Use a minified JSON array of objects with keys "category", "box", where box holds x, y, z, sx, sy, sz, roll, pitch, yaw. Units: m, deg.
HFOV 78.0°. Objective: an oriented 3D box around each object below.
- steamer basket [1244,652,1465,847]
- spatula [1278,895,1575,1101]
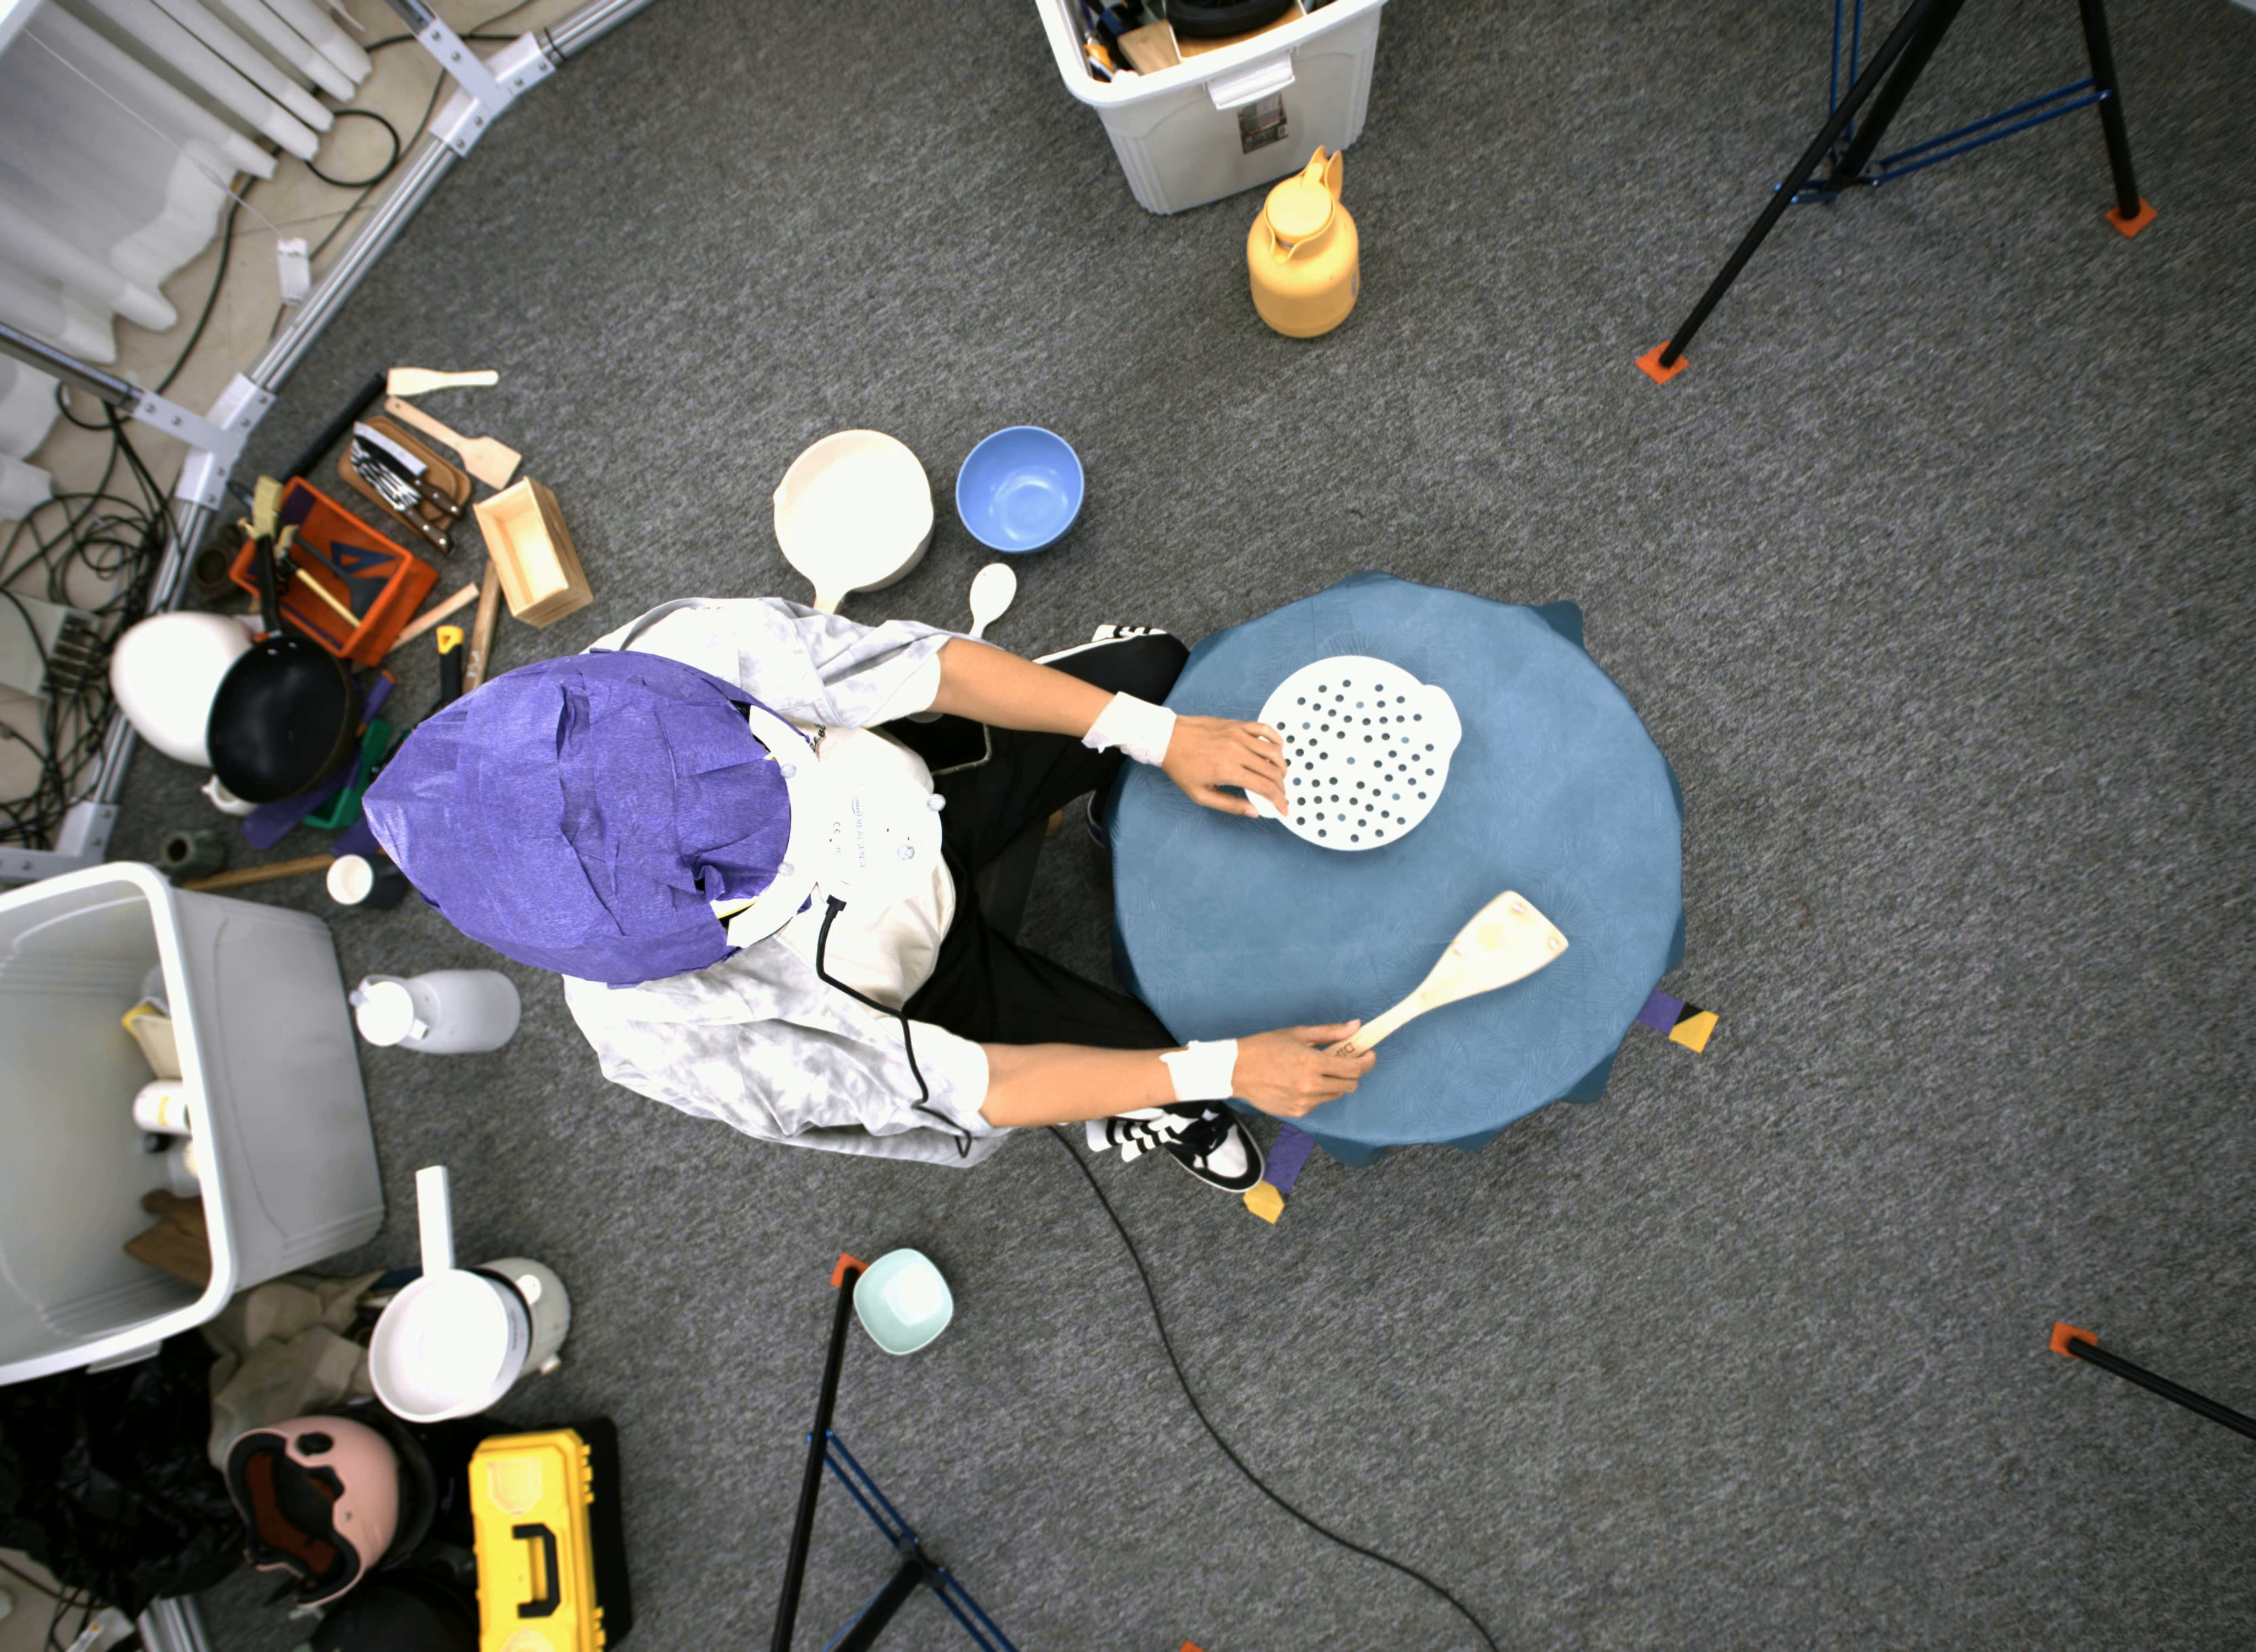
[{"category":"steamer basket","box":[0.237,-0.078,1.439,0.232,0.069,0.200,-22,81,9]},{"category":"spatula","box":[0.289,0.180,1.384,0.329,0.016,0.079,-34,80,6]}]
